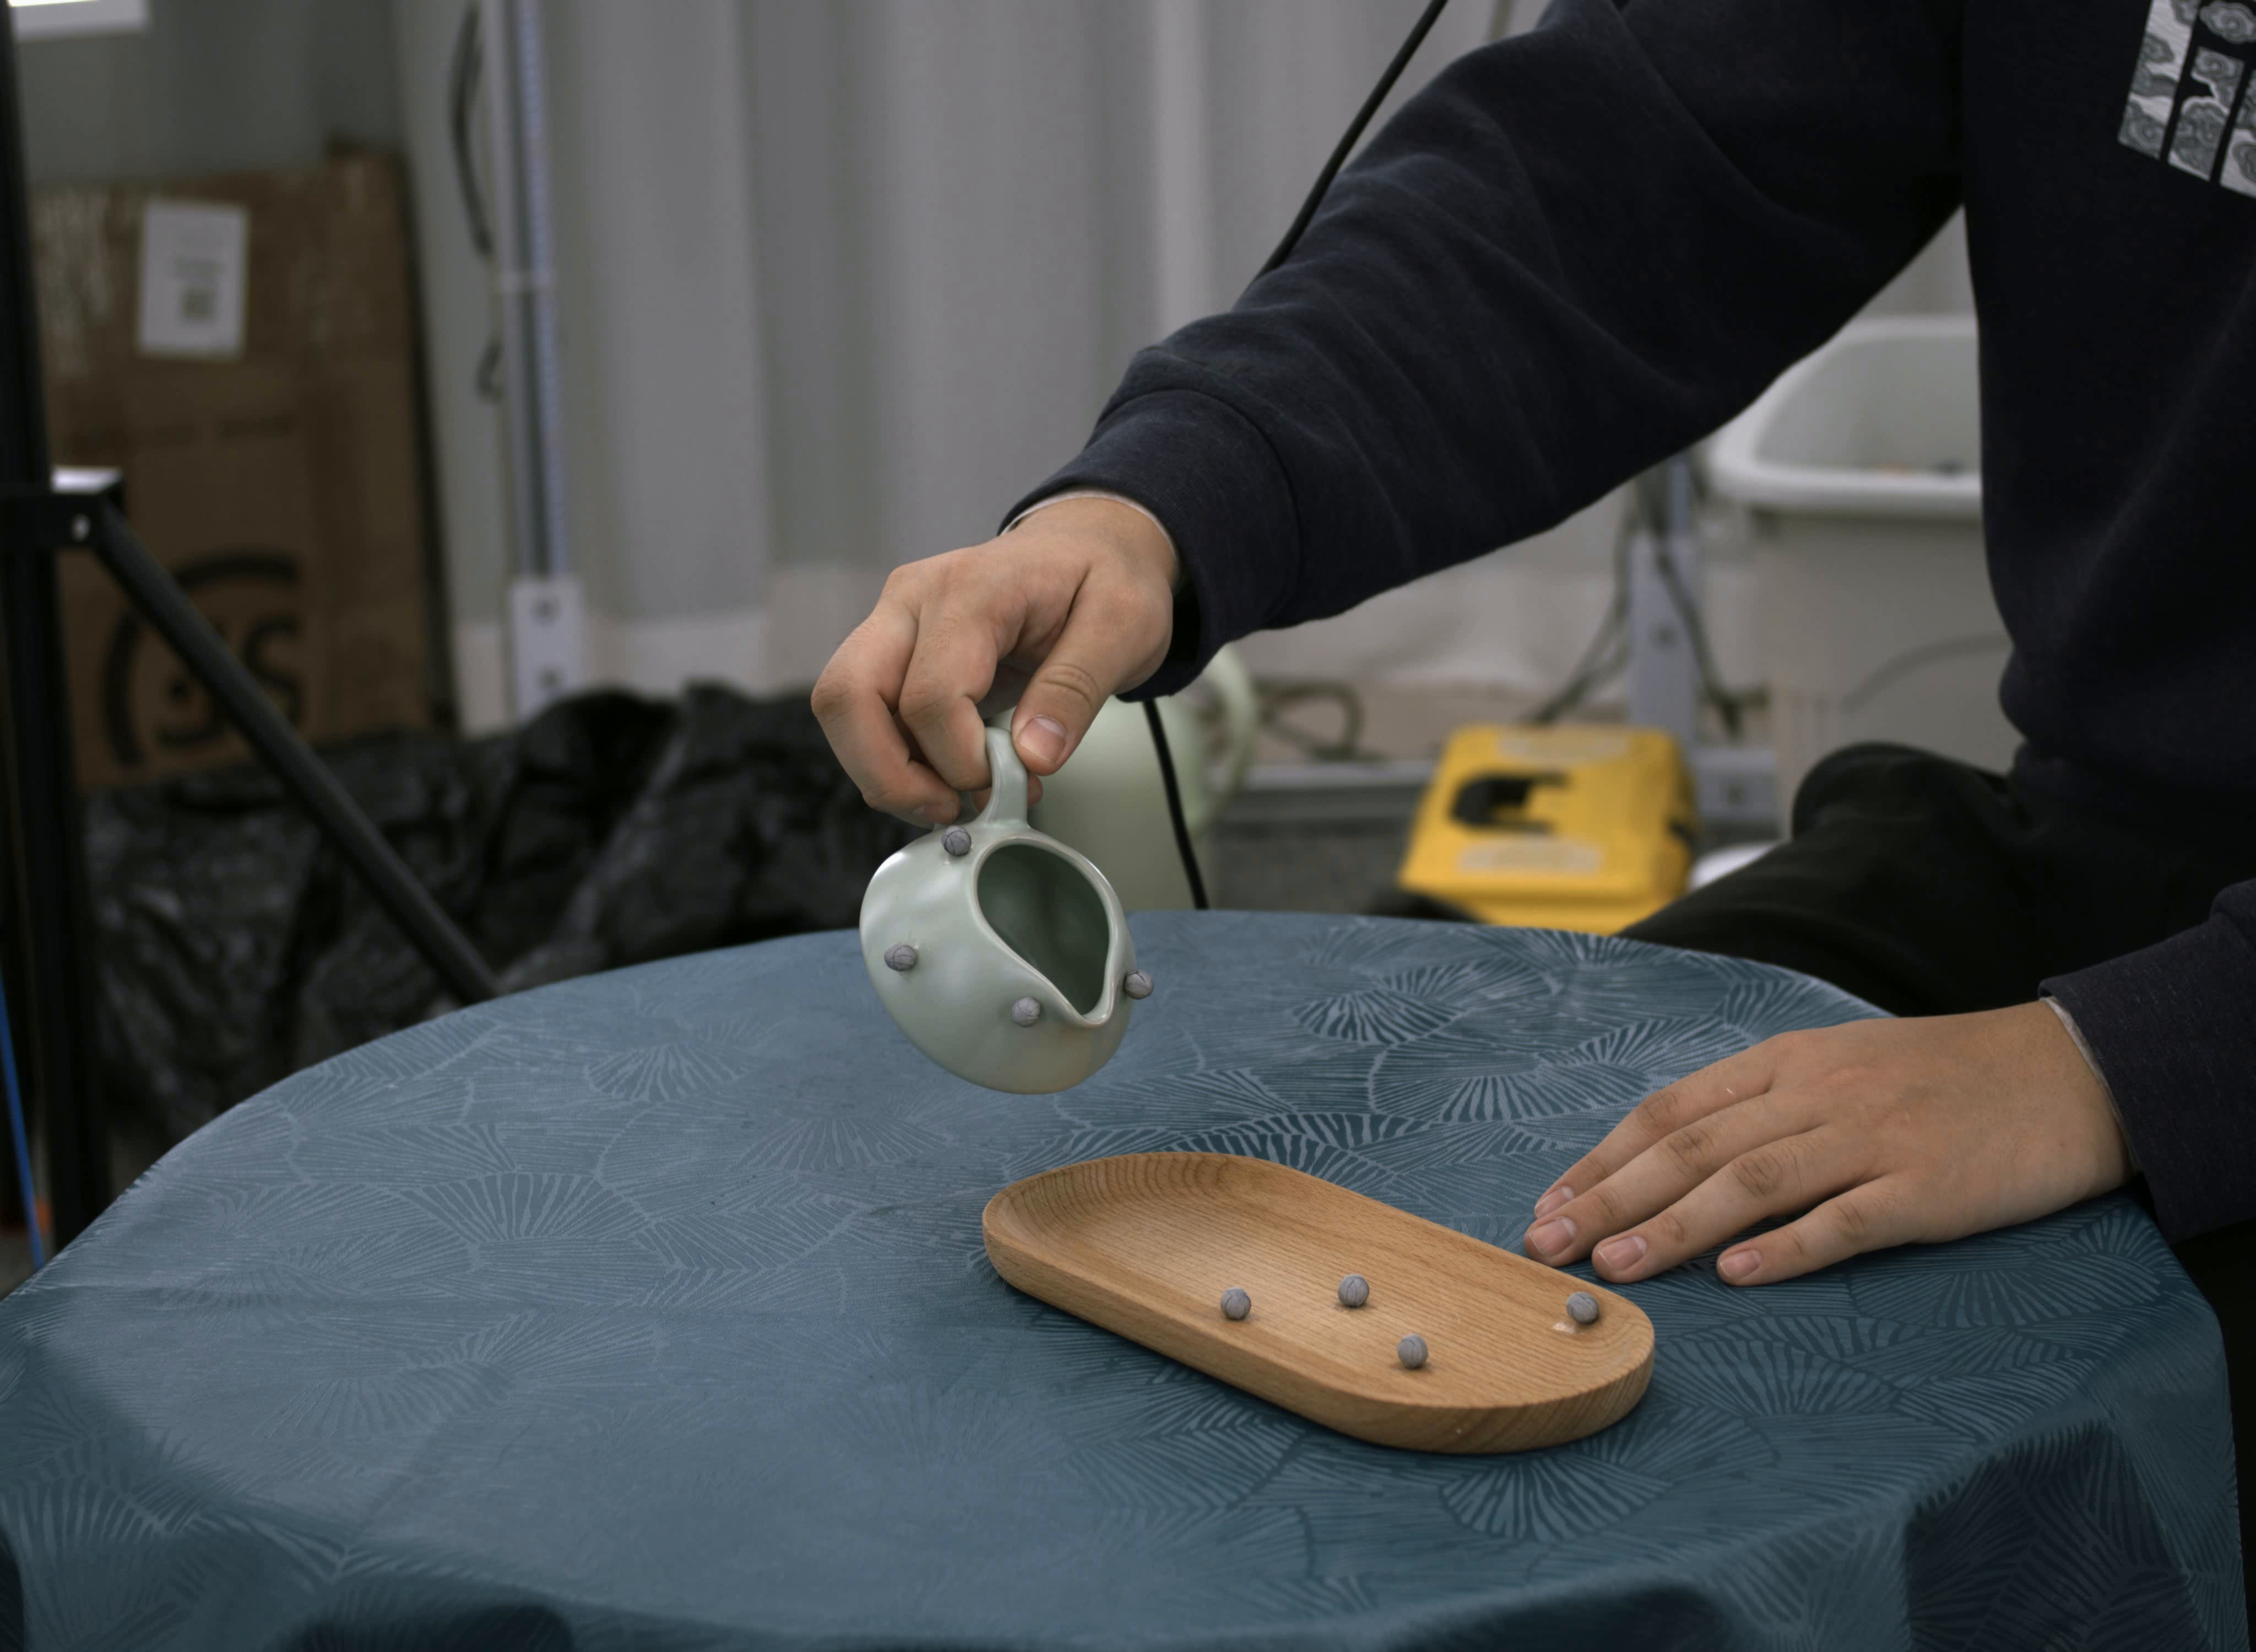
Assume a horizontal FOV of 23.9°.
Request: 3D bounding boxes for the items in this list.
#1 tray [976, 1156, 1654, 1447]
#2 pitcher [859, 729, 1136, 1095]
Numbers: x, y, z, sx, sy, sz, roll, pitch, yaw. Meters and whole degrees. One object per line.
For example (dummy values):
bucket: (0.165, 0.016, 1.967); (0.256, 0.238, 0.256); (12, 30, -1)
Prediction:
tray: (0.049, 0.128, 1.450); (0.099, 0.020, 0.236); (-12, 16, -35)
pitcher: (-0.038, 0.025, 1.523); (0.084, 0.110, 0.061); (-2, -33, -35)
